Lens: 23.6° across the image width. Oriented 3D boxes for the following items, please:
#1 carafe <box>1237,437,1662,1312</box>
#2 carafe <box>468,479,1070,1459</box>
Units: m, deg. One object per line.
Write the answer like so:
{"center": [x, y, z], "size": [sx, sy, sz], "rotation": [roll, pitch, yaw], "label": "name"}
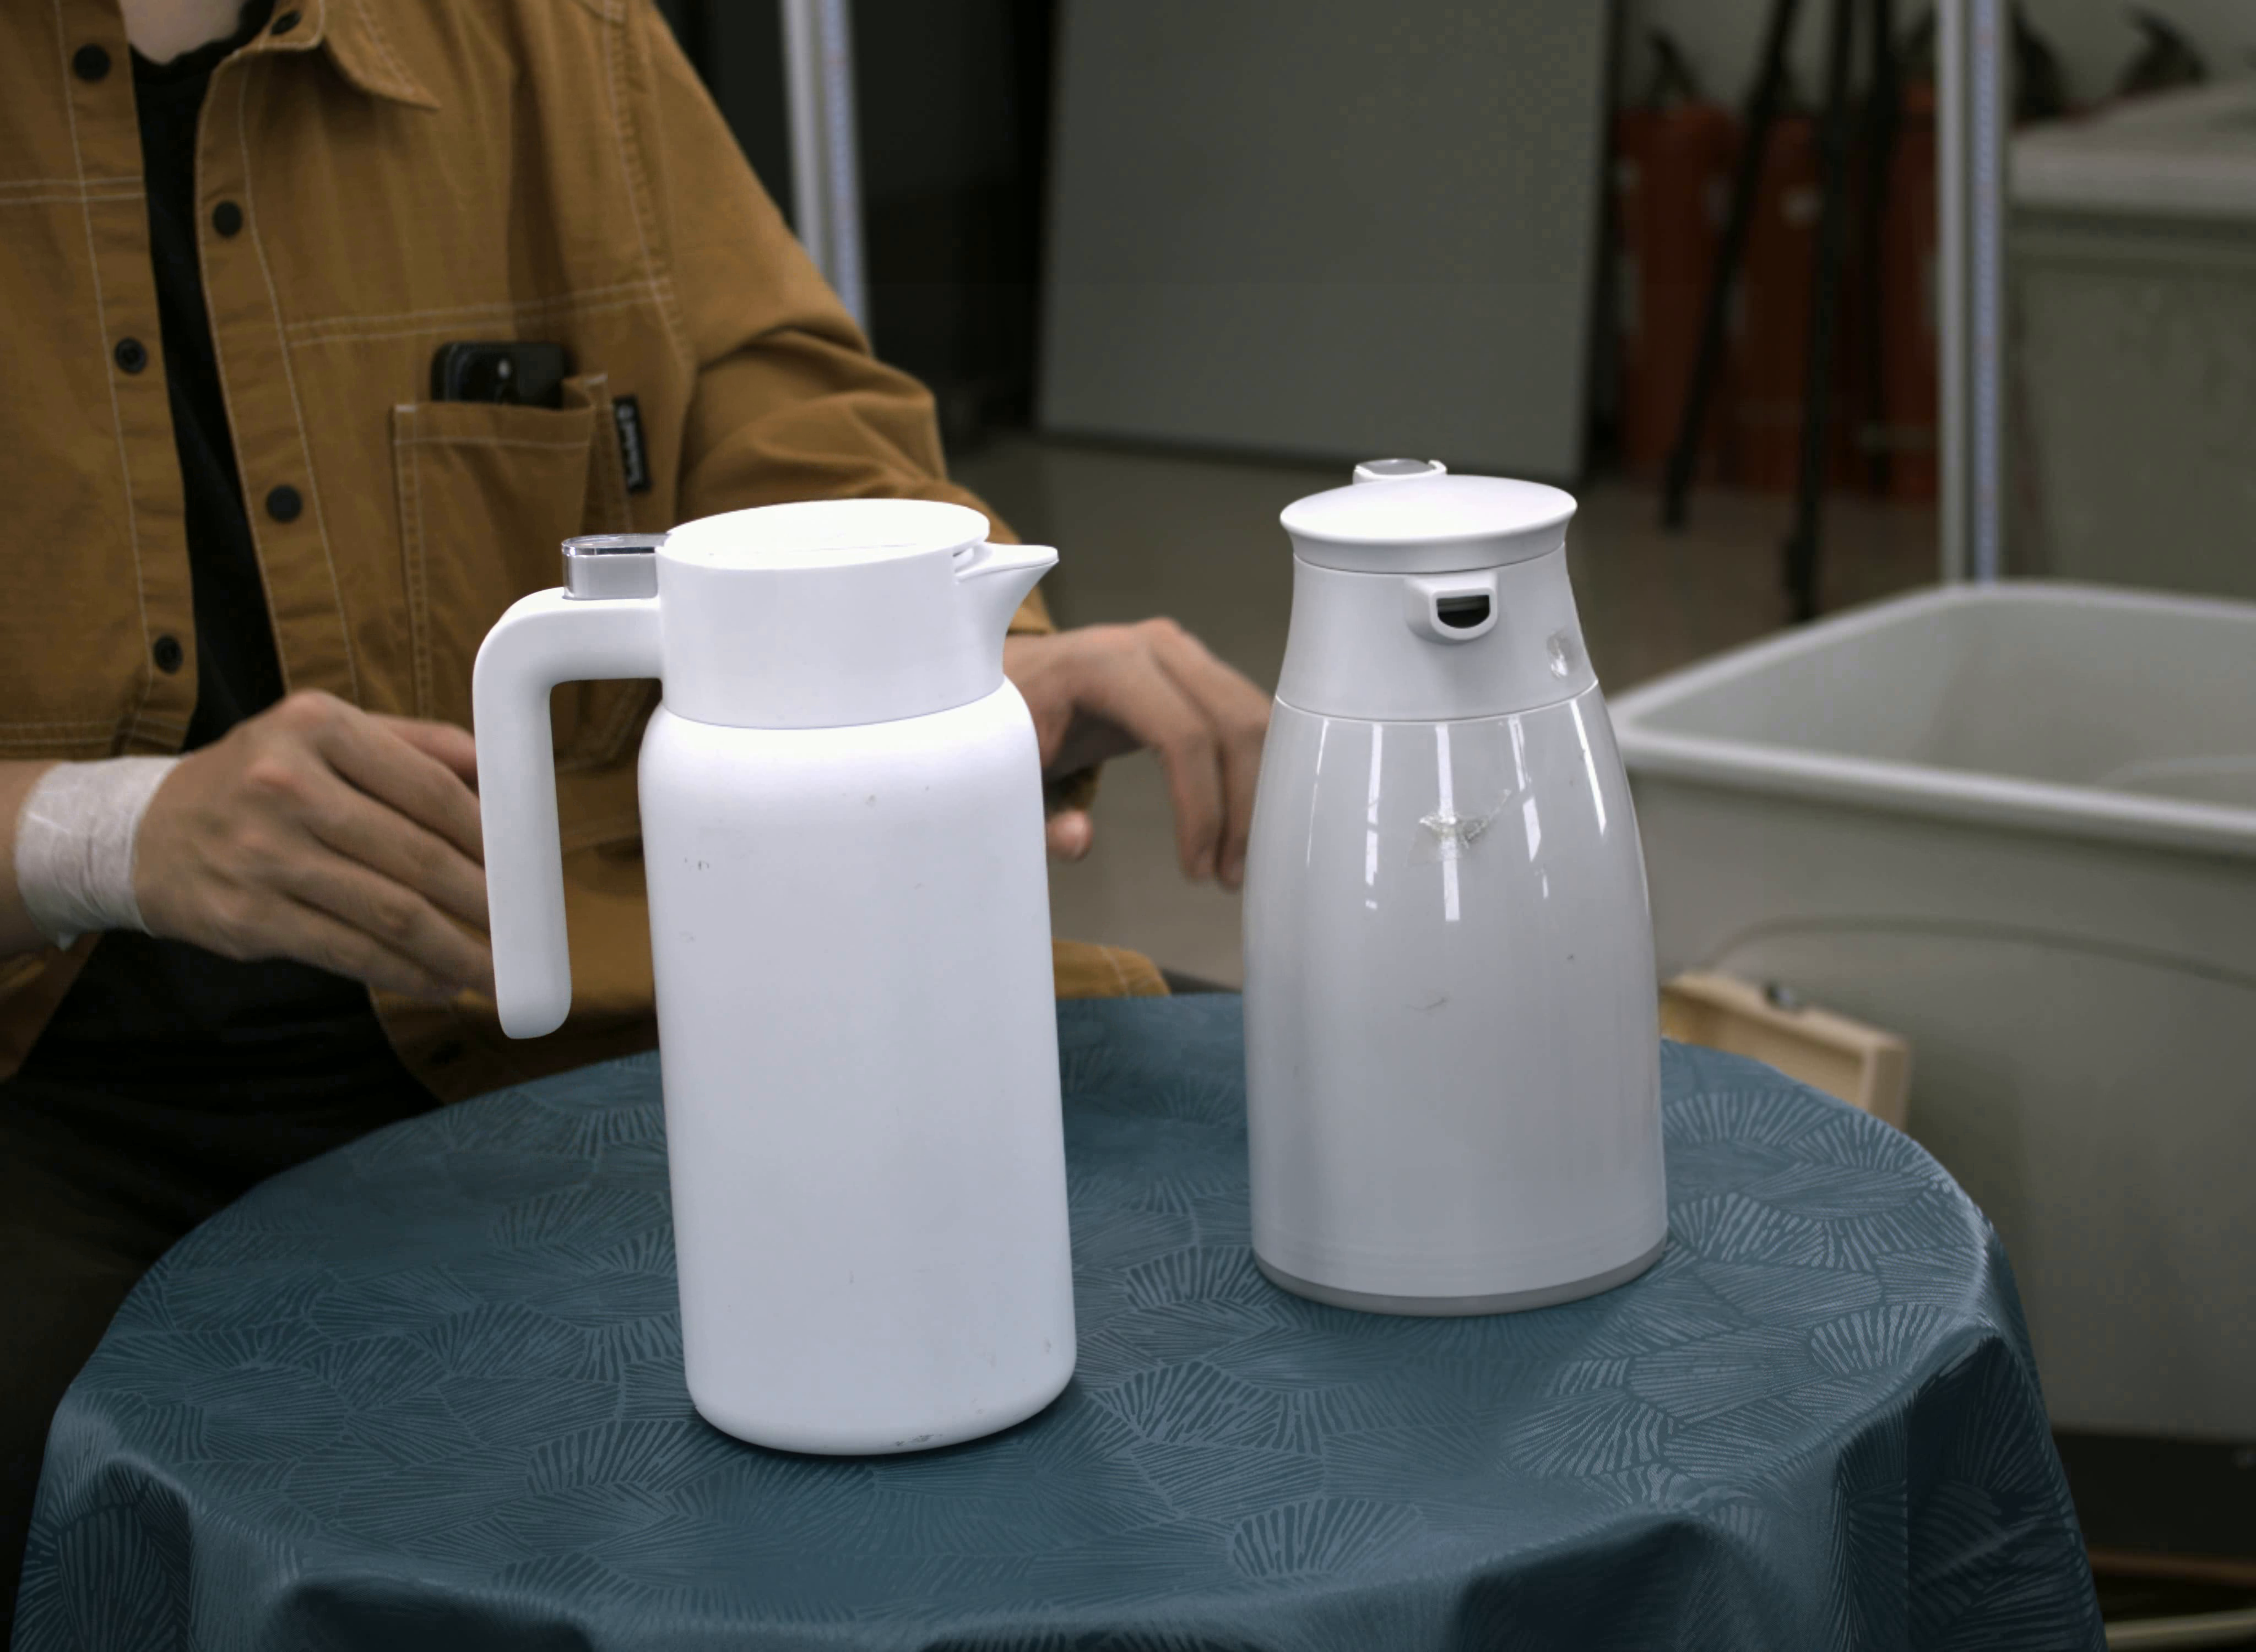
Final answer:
{"center": [0.093, 0.007, 1.684], "size": [0.130, 0.251, 0.168], "rotation": [-5, 13, -6], "label": "carafe"}
{"center": [-0.098, 0.041, 1.567], "size": [0.171, 0.272, 0.124], "rotation": [-3, 15, 5], "label": "carafe"}
